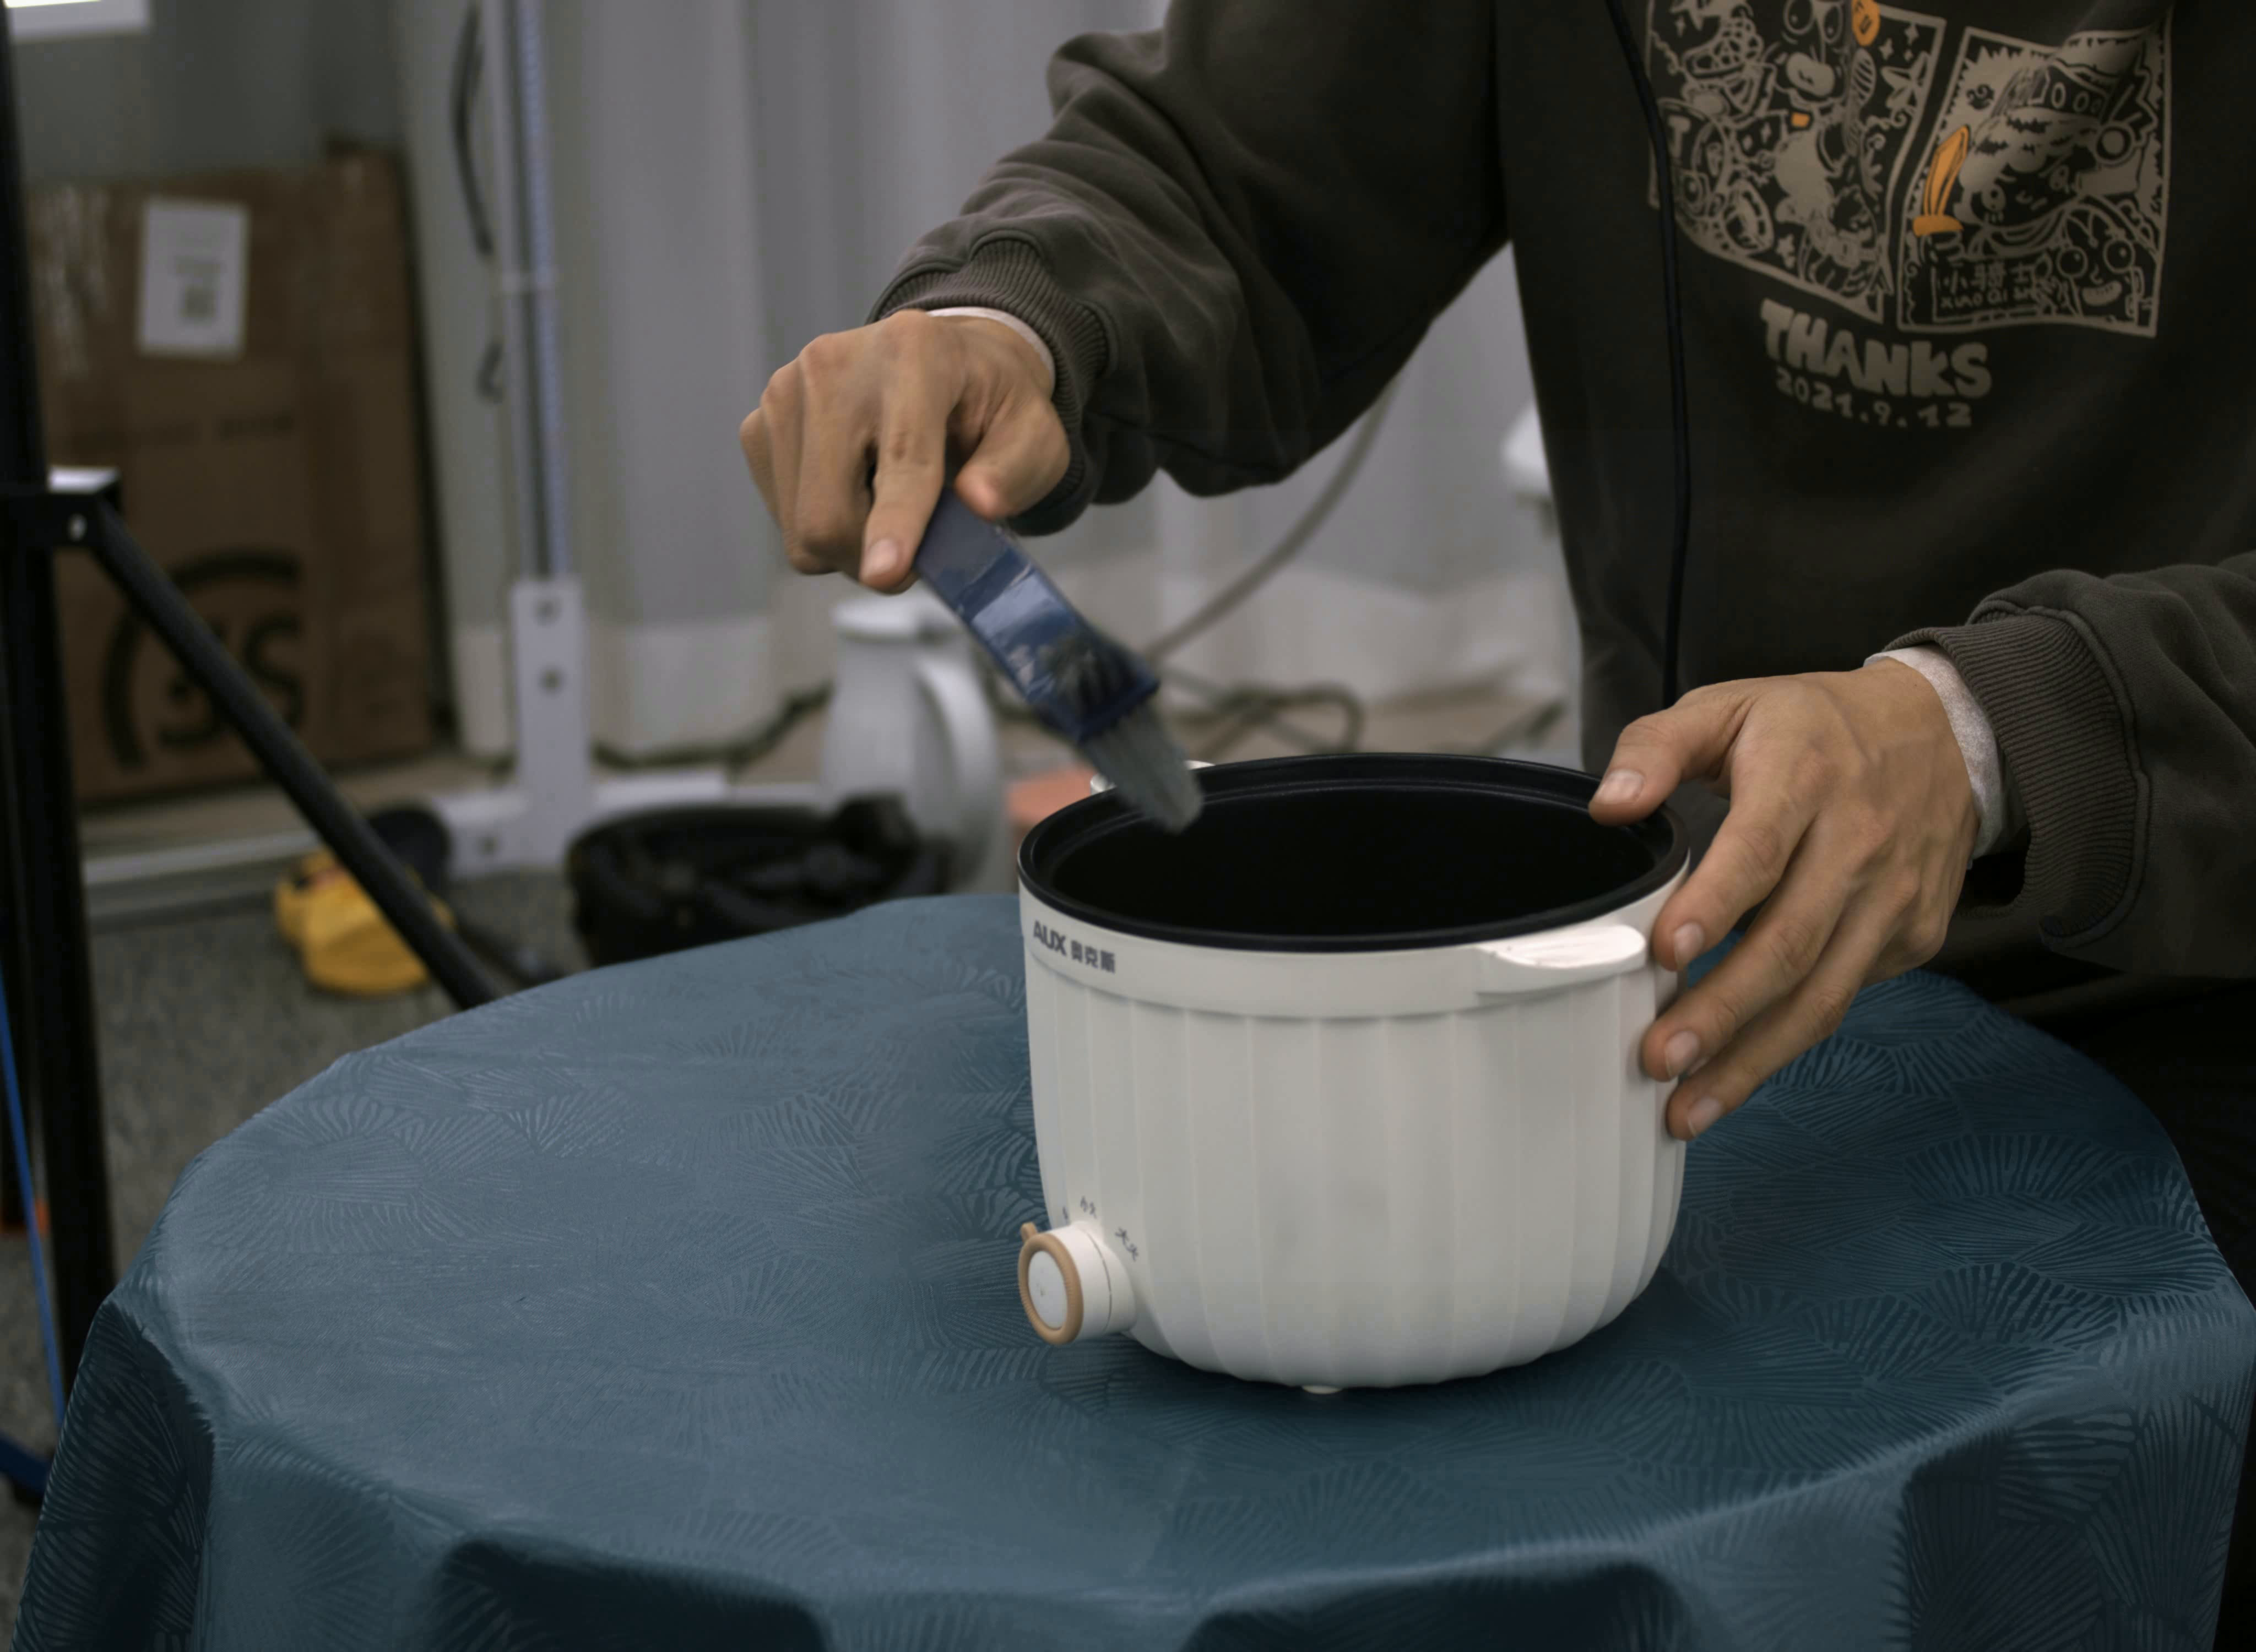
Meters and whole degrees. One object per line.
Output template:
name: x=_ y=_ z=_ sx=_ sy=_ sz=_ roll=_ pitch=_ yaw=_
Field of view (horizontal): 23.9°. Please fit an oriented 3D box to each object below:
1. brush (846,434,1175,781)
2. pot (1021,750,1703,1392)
brush: x=-0.040 y=-0.076 z=1.460 sx=0.033 sy=0.094 sz=0.278 roll=-37 pitch=30 yaw=-3
pot: x=0.059 y=0.068 z=1.436 sx=0.186 sy=0.143 sz=0.245 roll=-8 pitch=15 yaw=-30
